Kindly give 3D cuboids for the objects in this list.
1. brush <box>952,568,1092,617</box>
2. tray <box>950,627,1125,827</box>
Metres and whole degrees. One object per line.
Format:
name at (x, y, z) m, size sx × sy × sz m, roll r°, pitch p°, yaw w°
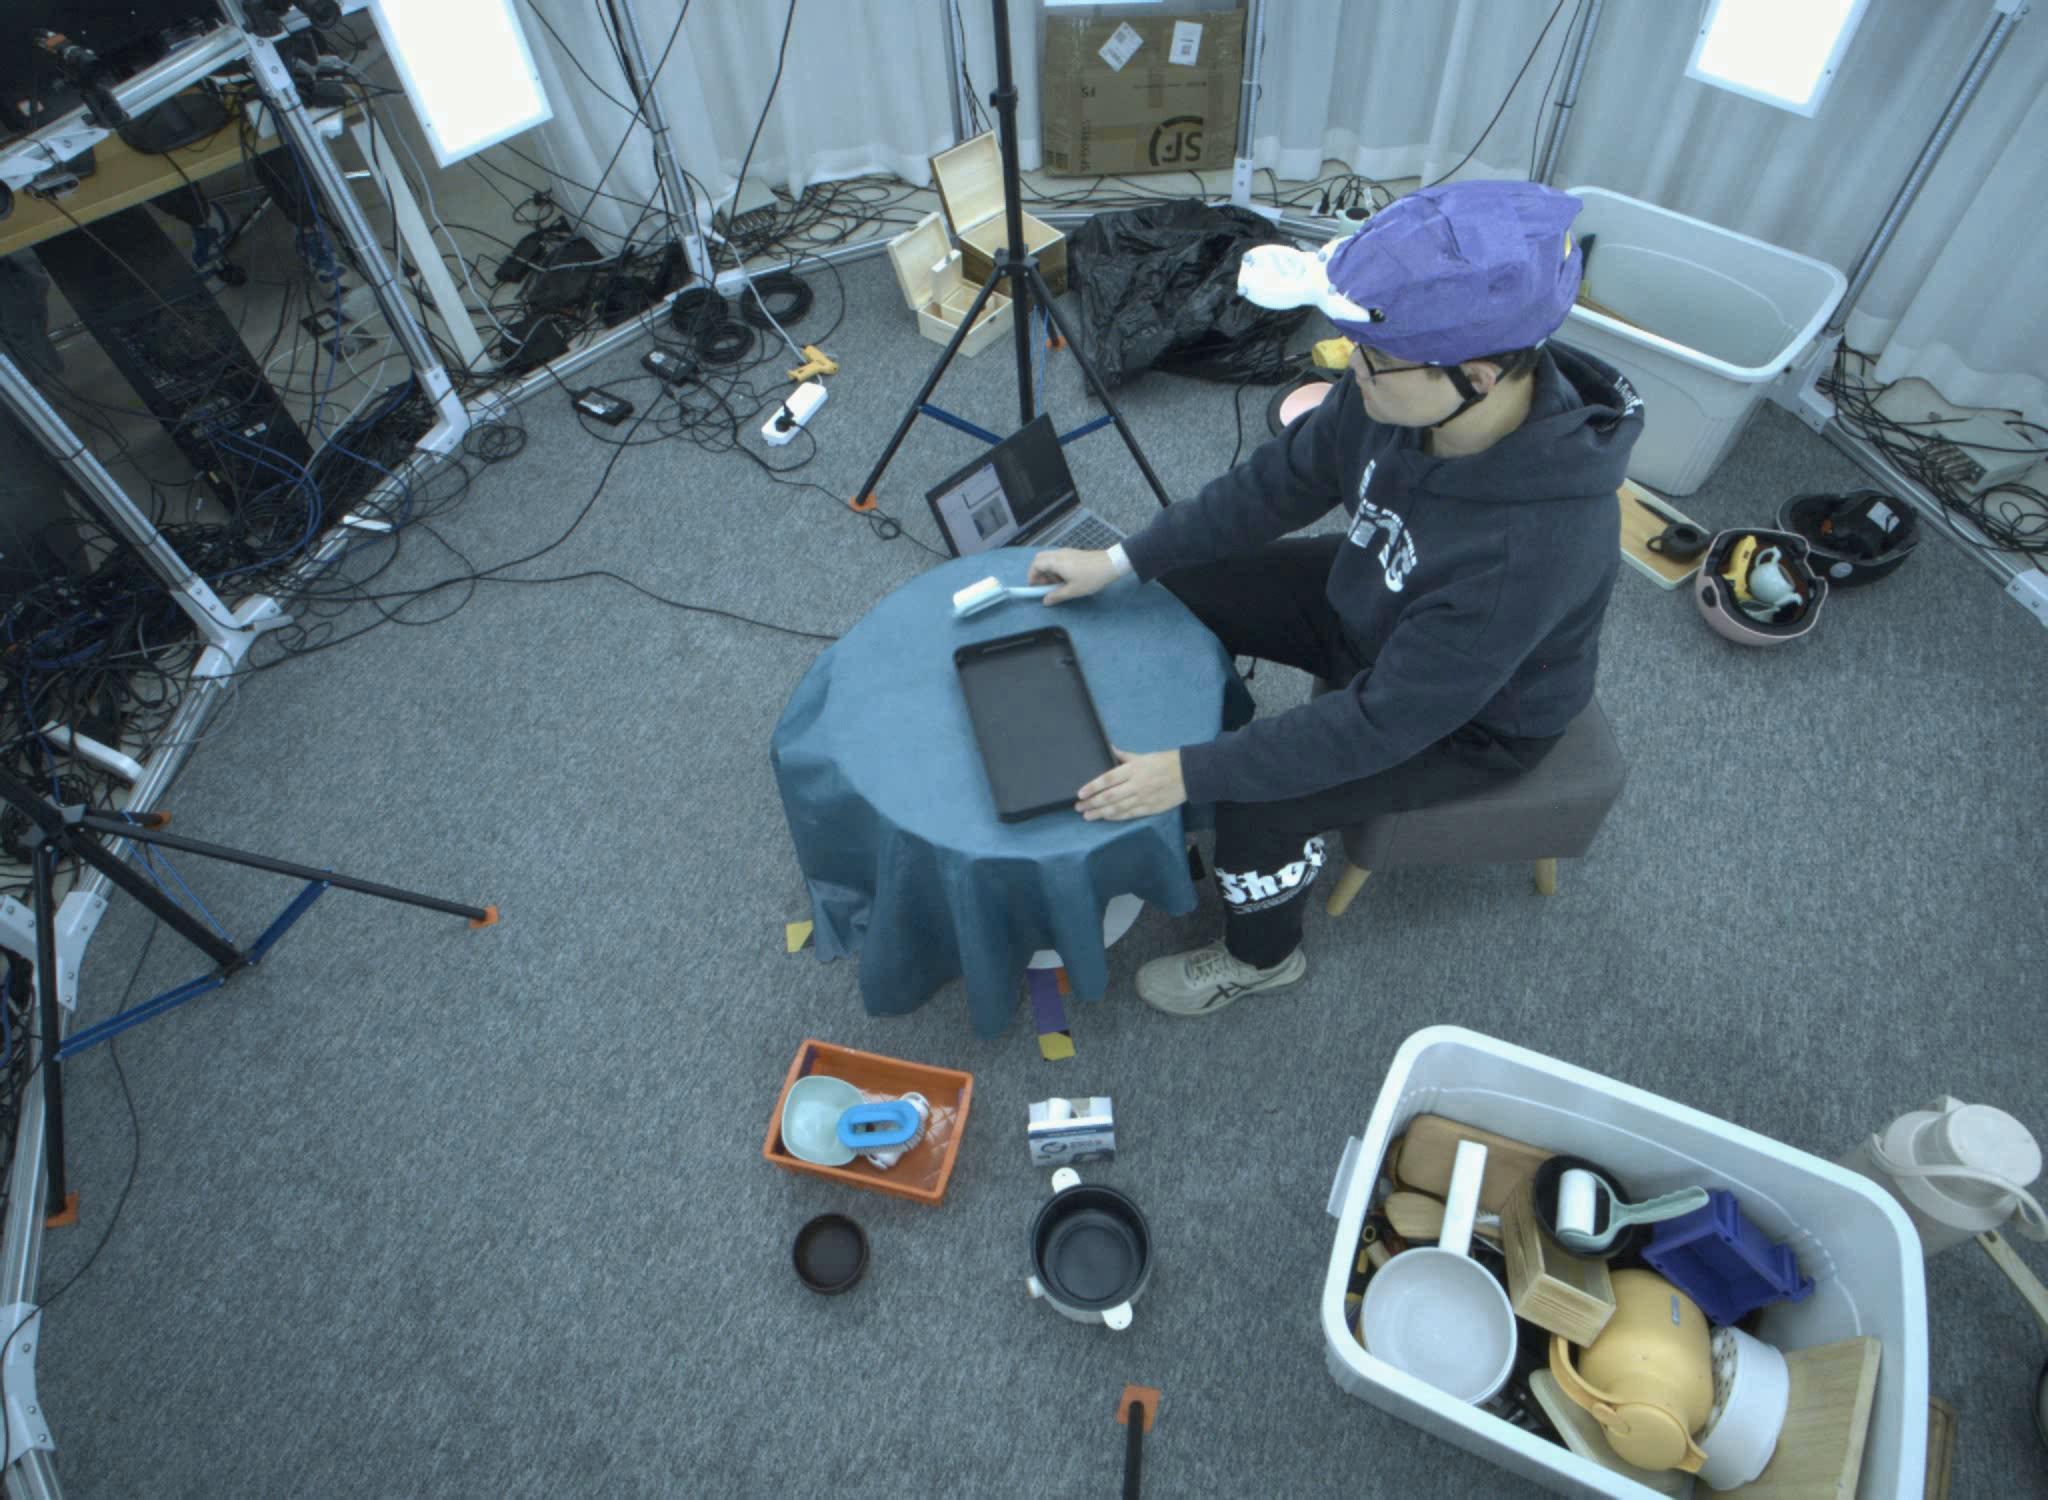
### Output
brush at (-0.003, -0.260, 1.948) m, size 0.230 × 0.038 × 0.049 m, roll -15°, pitch 67°, yaw -9°
tray at (0.015, -0.039, 1.793) m, size 0.185 × 0.037 × 0.313 m, roll -14°, pitch 55°, yaw -9°
